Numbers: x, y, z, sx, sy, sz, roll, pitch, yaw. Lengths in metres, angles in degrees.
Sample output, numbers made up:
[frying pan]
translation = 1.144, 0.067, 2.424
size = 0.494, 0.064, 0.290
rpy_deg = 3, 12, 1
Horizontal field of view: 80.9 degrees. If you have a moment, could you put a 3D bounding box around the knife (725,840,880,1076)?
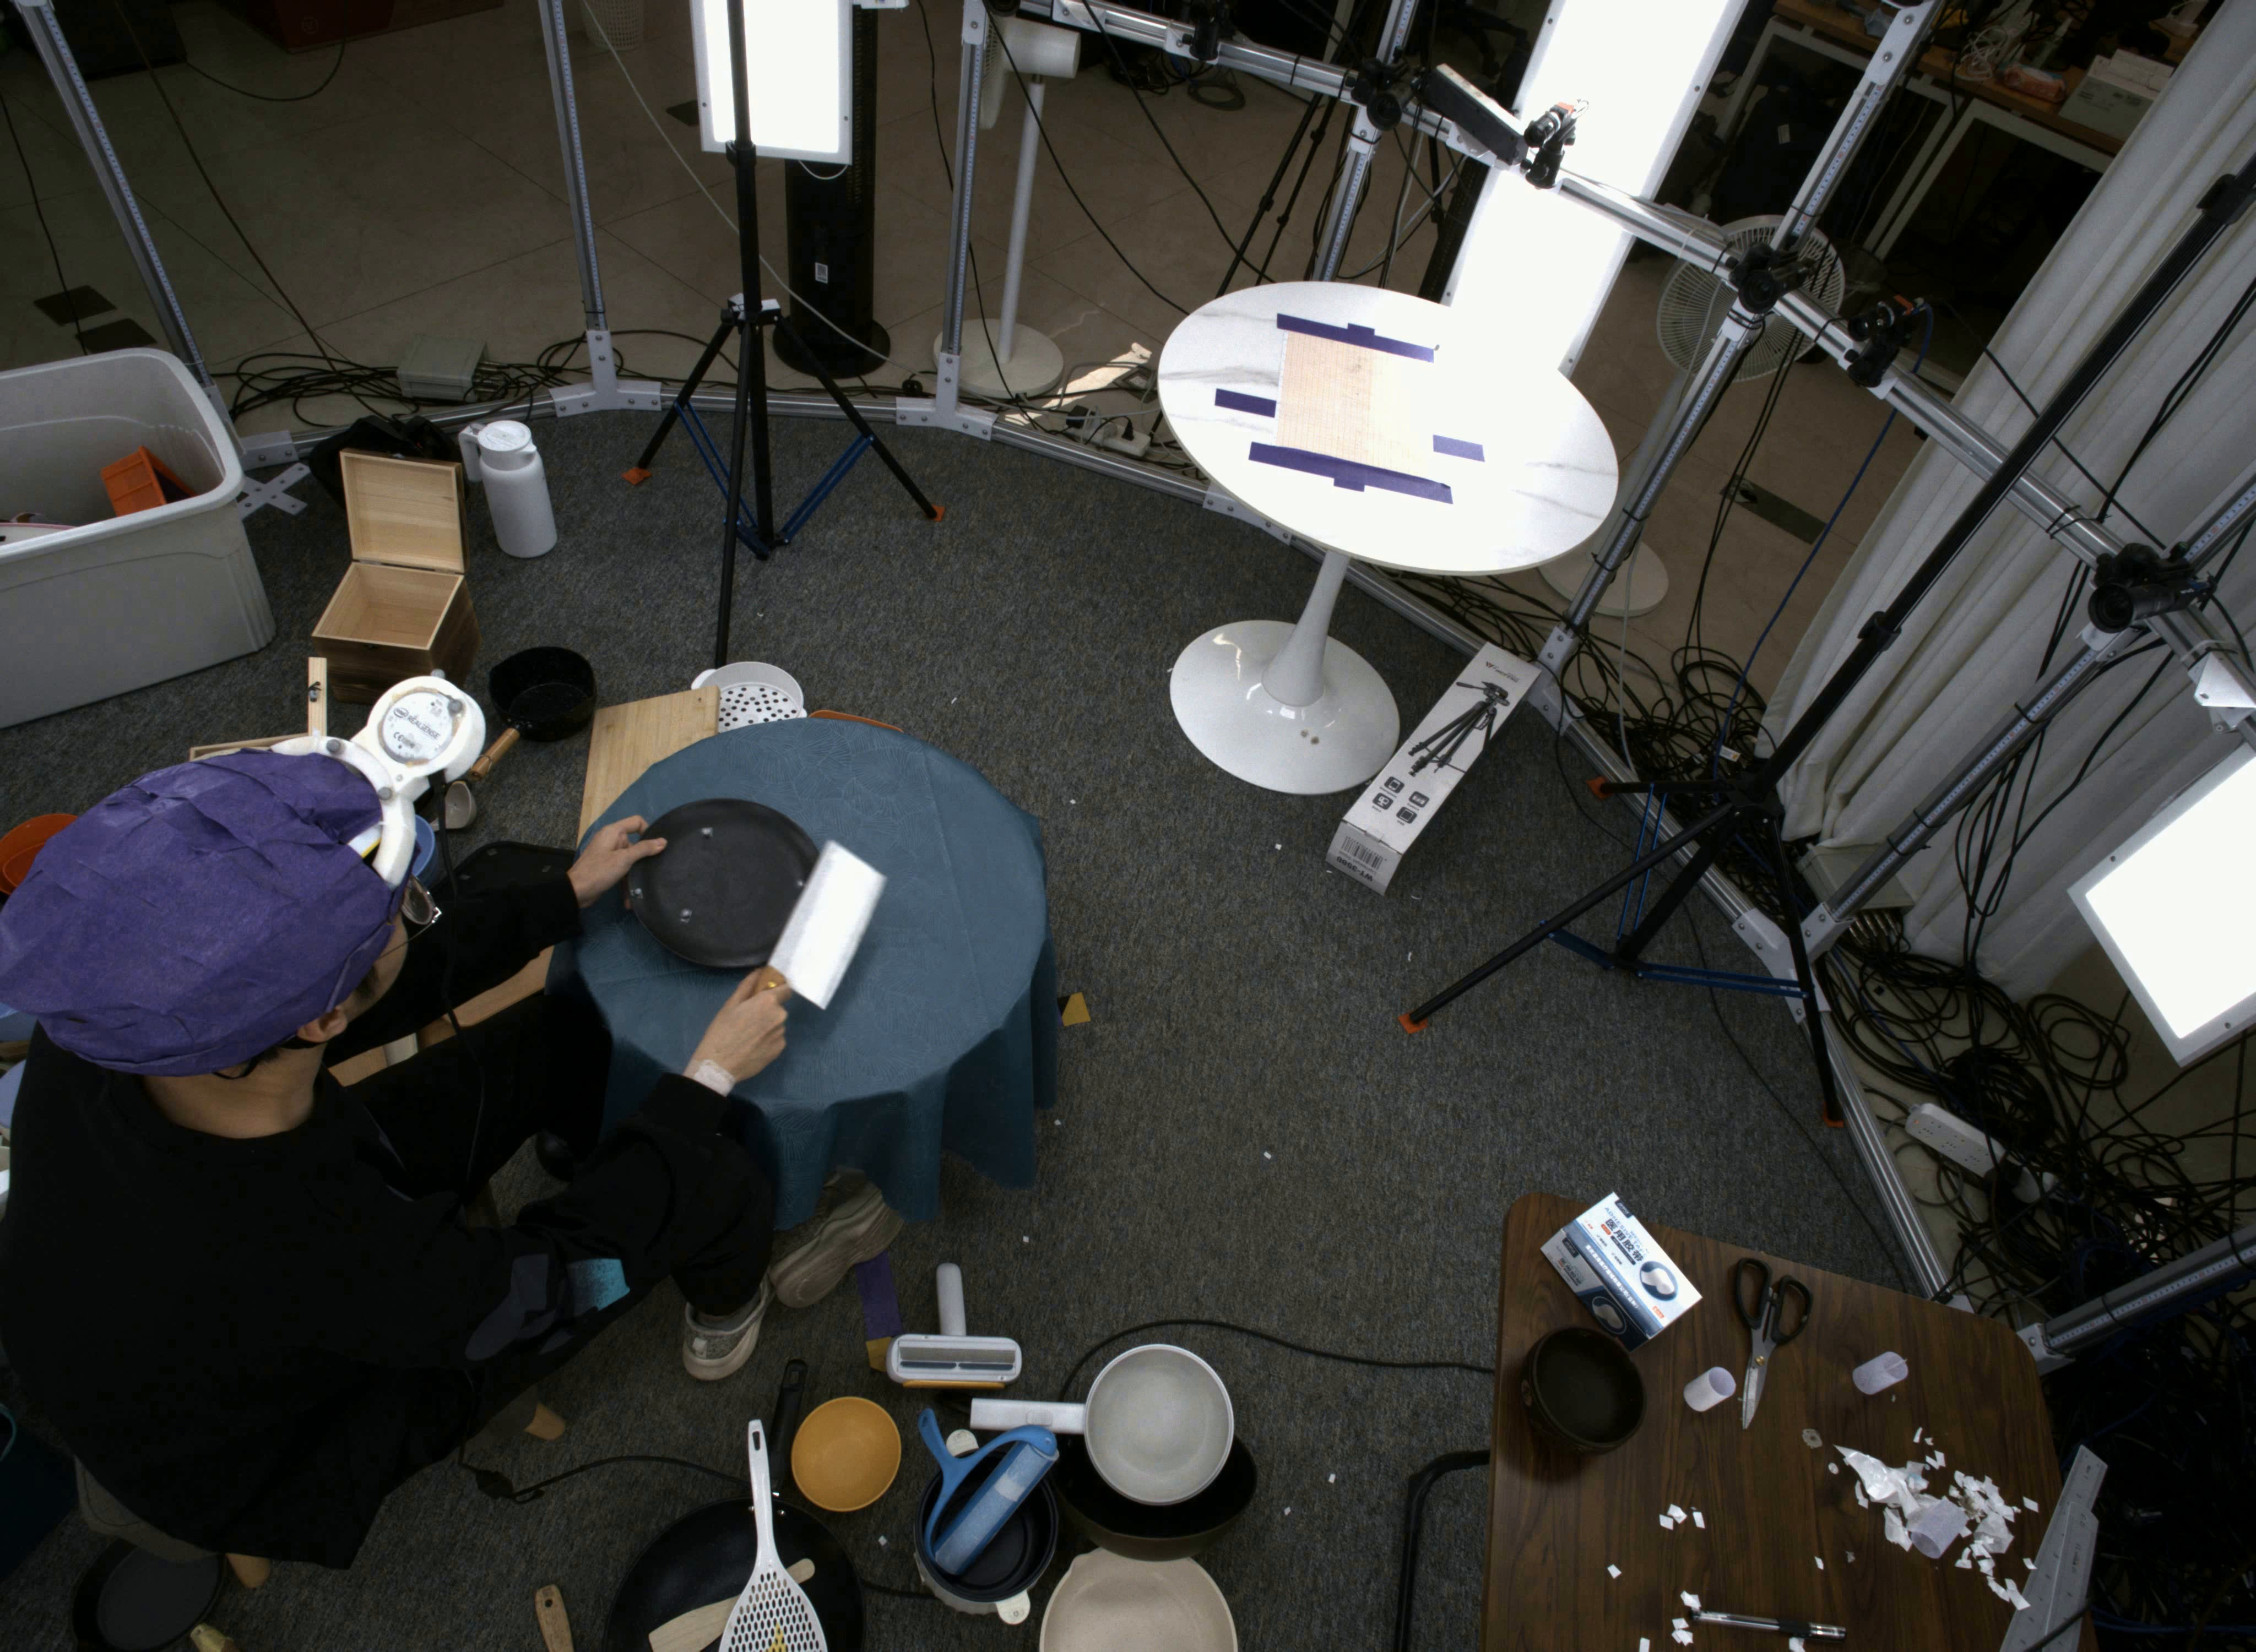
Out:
[knife]
translation = -0.370, 0.159, 1.512
size = 0.096, 0.020, 0.303
rpy_deg = 41, 54, -31

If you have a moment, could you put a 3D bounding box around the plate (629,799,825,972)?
[plate]
translation = -0.496, 0.073, 1.604
size = 0.246, 0.023, 0.240
rpy_deg = 13, 55, -17
